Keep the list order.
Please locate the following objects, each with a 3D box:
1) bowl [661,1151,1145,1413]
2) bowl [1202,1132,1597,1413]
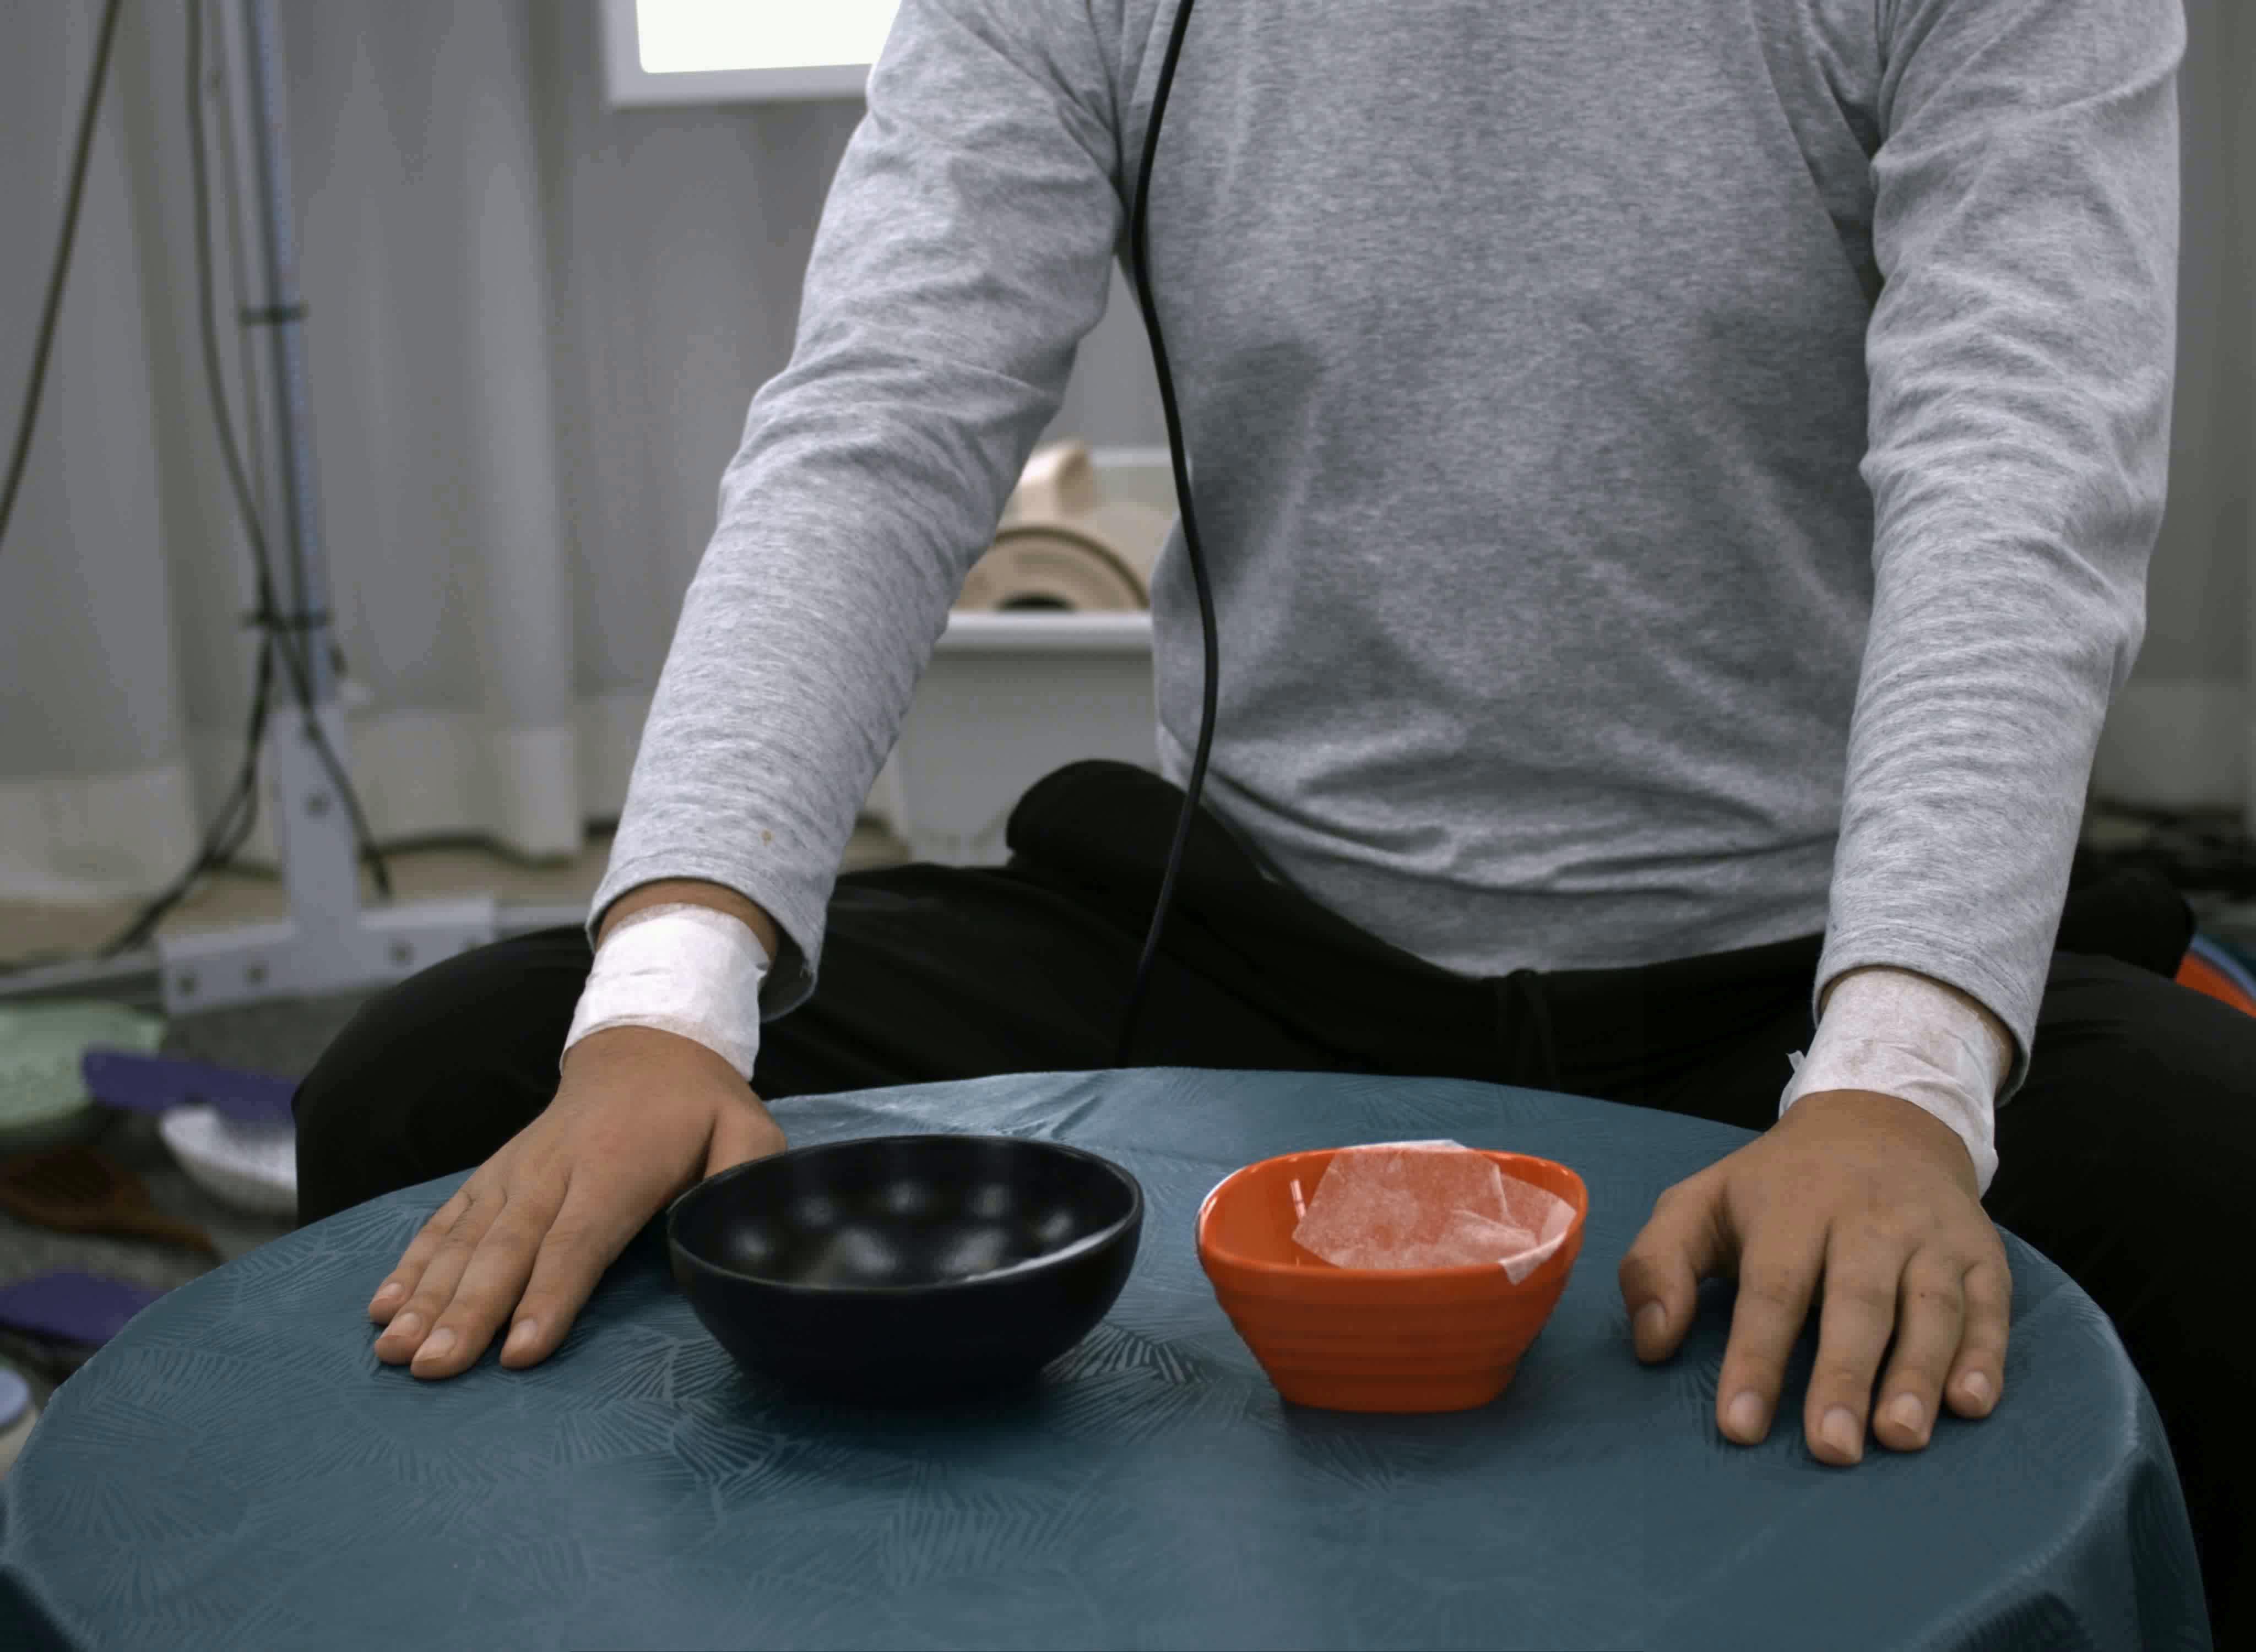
[{"bbox_3d":[-0.064,0.135,1.569,0.139,0.049,0.141,0,11,0],"label":"bowl"},{"bbox_3d":[0.078,0.129,1.542,0.118,0.051,0.120,-5,17,1],"label":"bowl"}]
